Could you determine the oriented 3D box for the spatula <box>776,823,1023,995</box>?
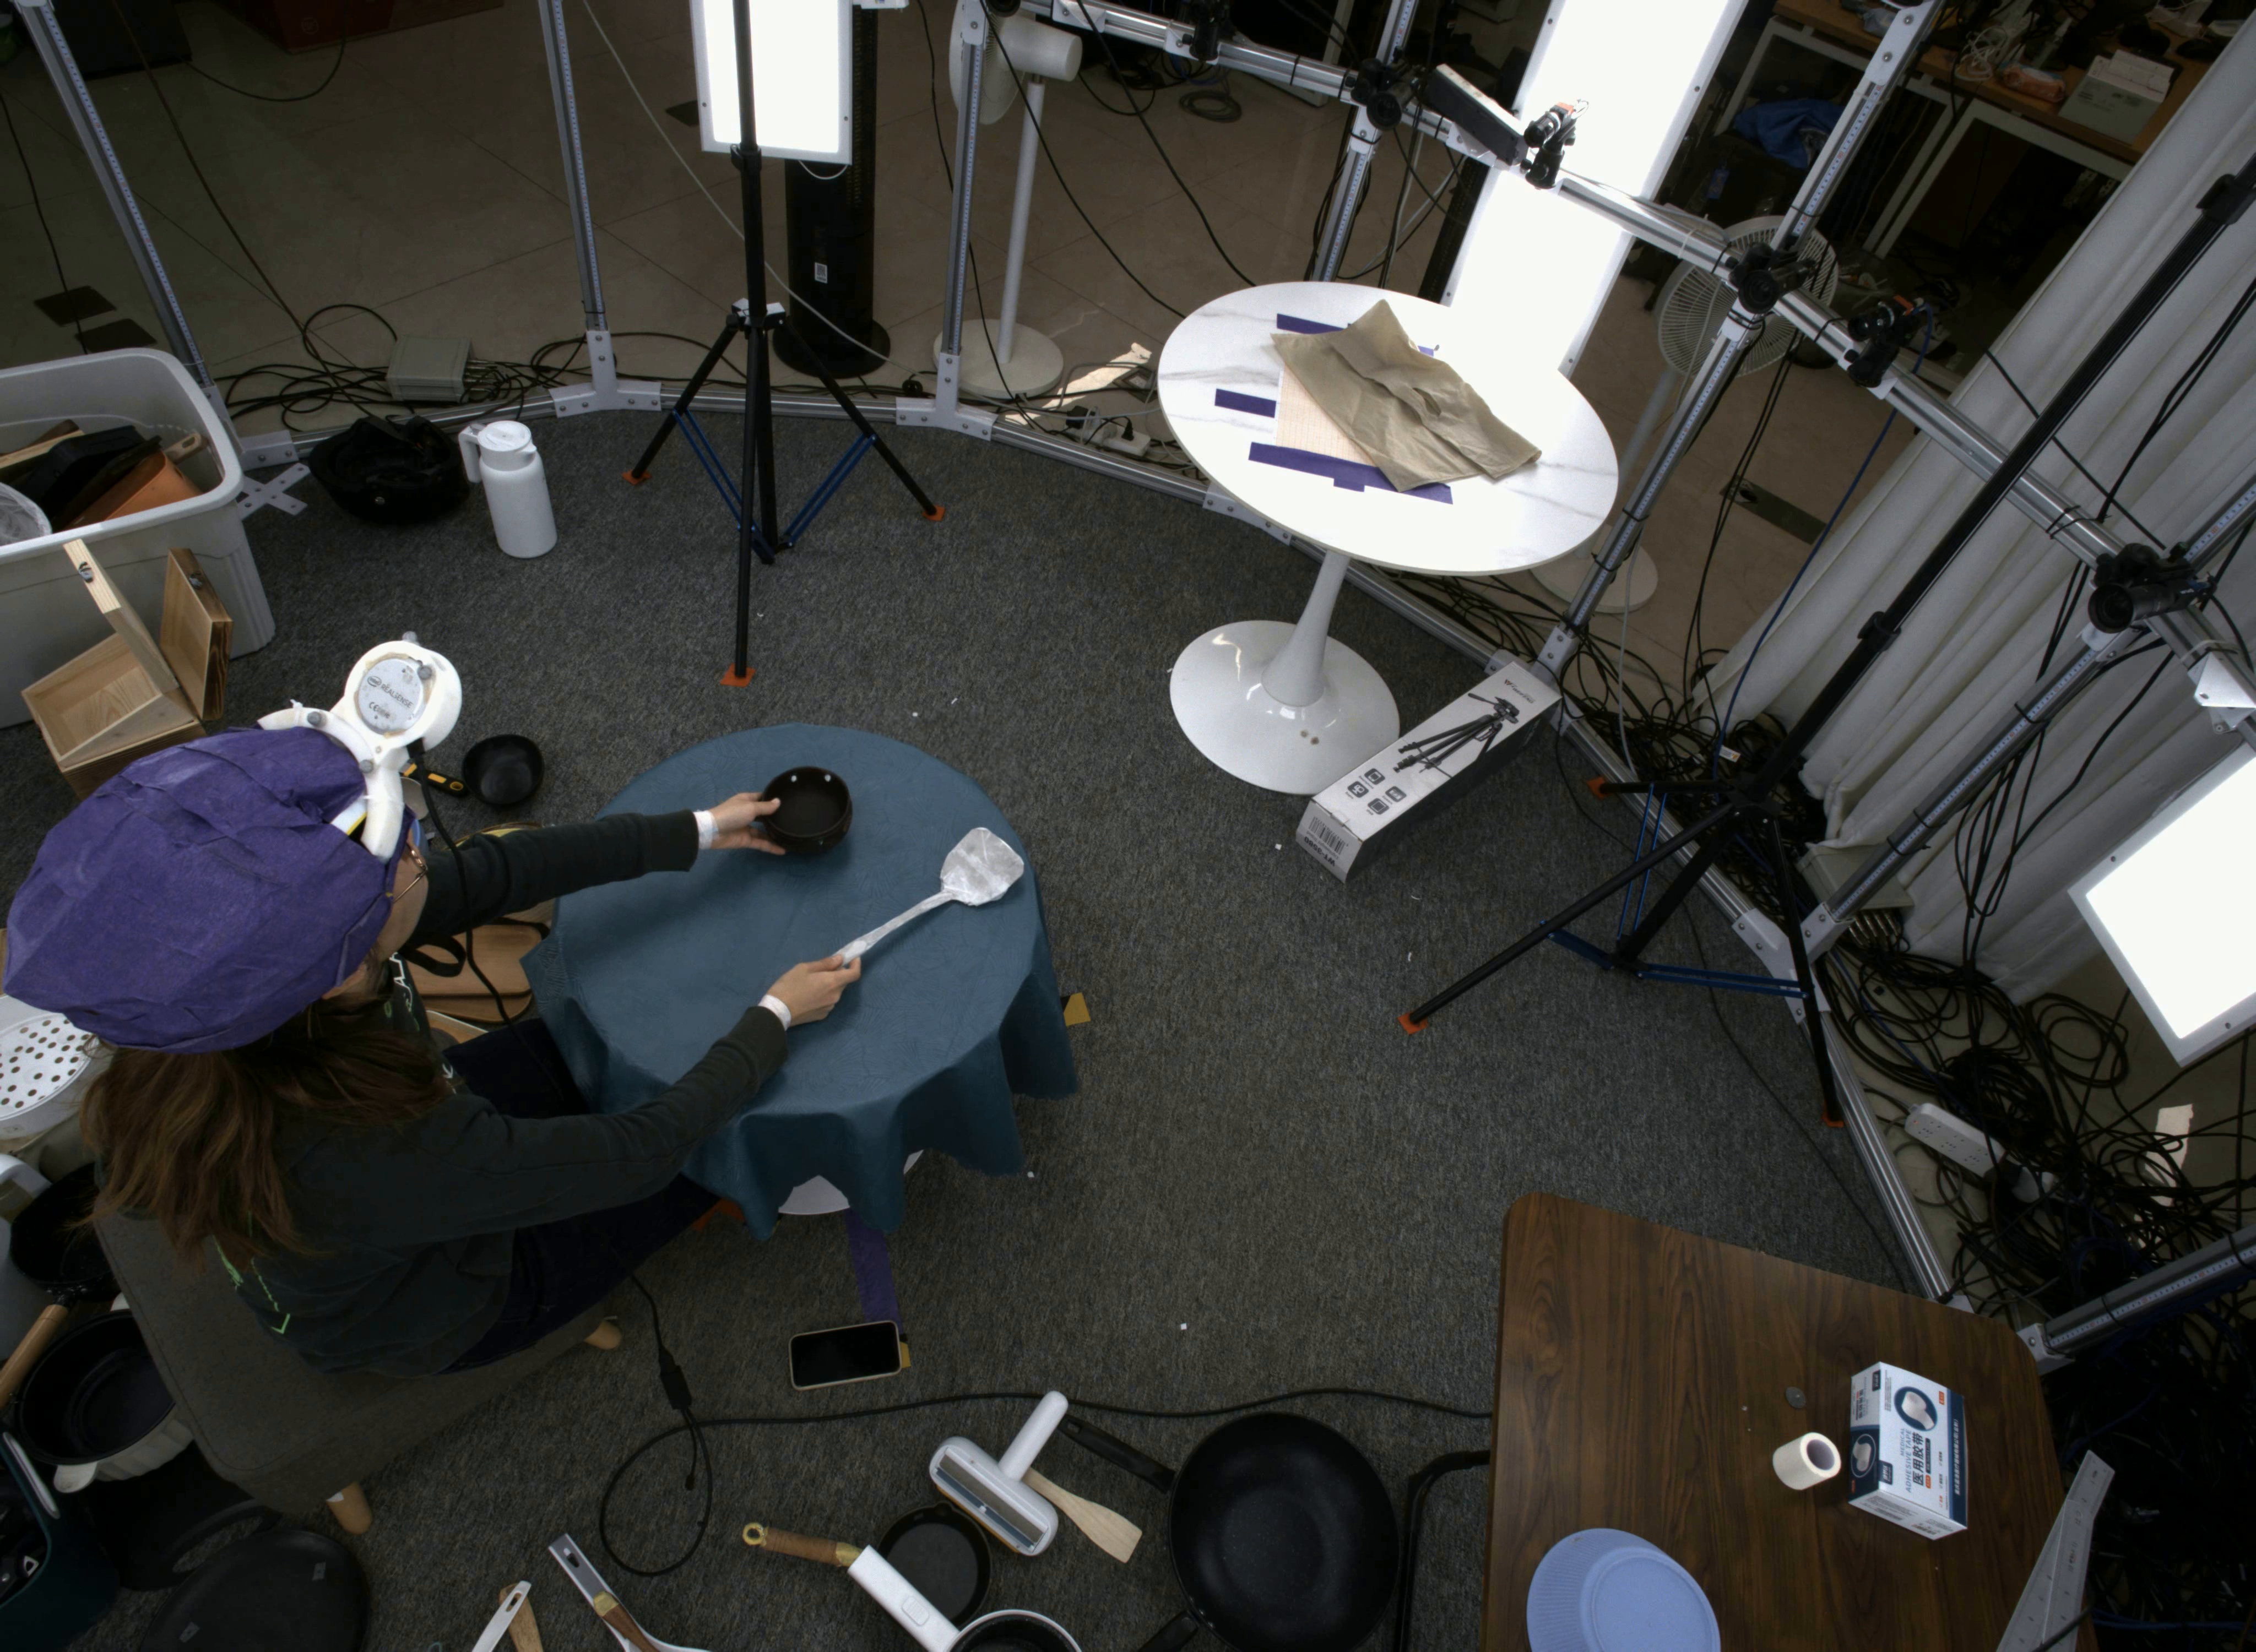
[{"bbox_3d":[-0.289,0.111,1.647,0.096,0.045,0.366,44,51,17],"label":"spatula"}]

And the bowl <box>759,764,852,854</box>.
[{"bbox_3d":[-0.419,-0.015,1.692,0.117,0.071,0.116,4,54,-4],"label":"bowl"}]
